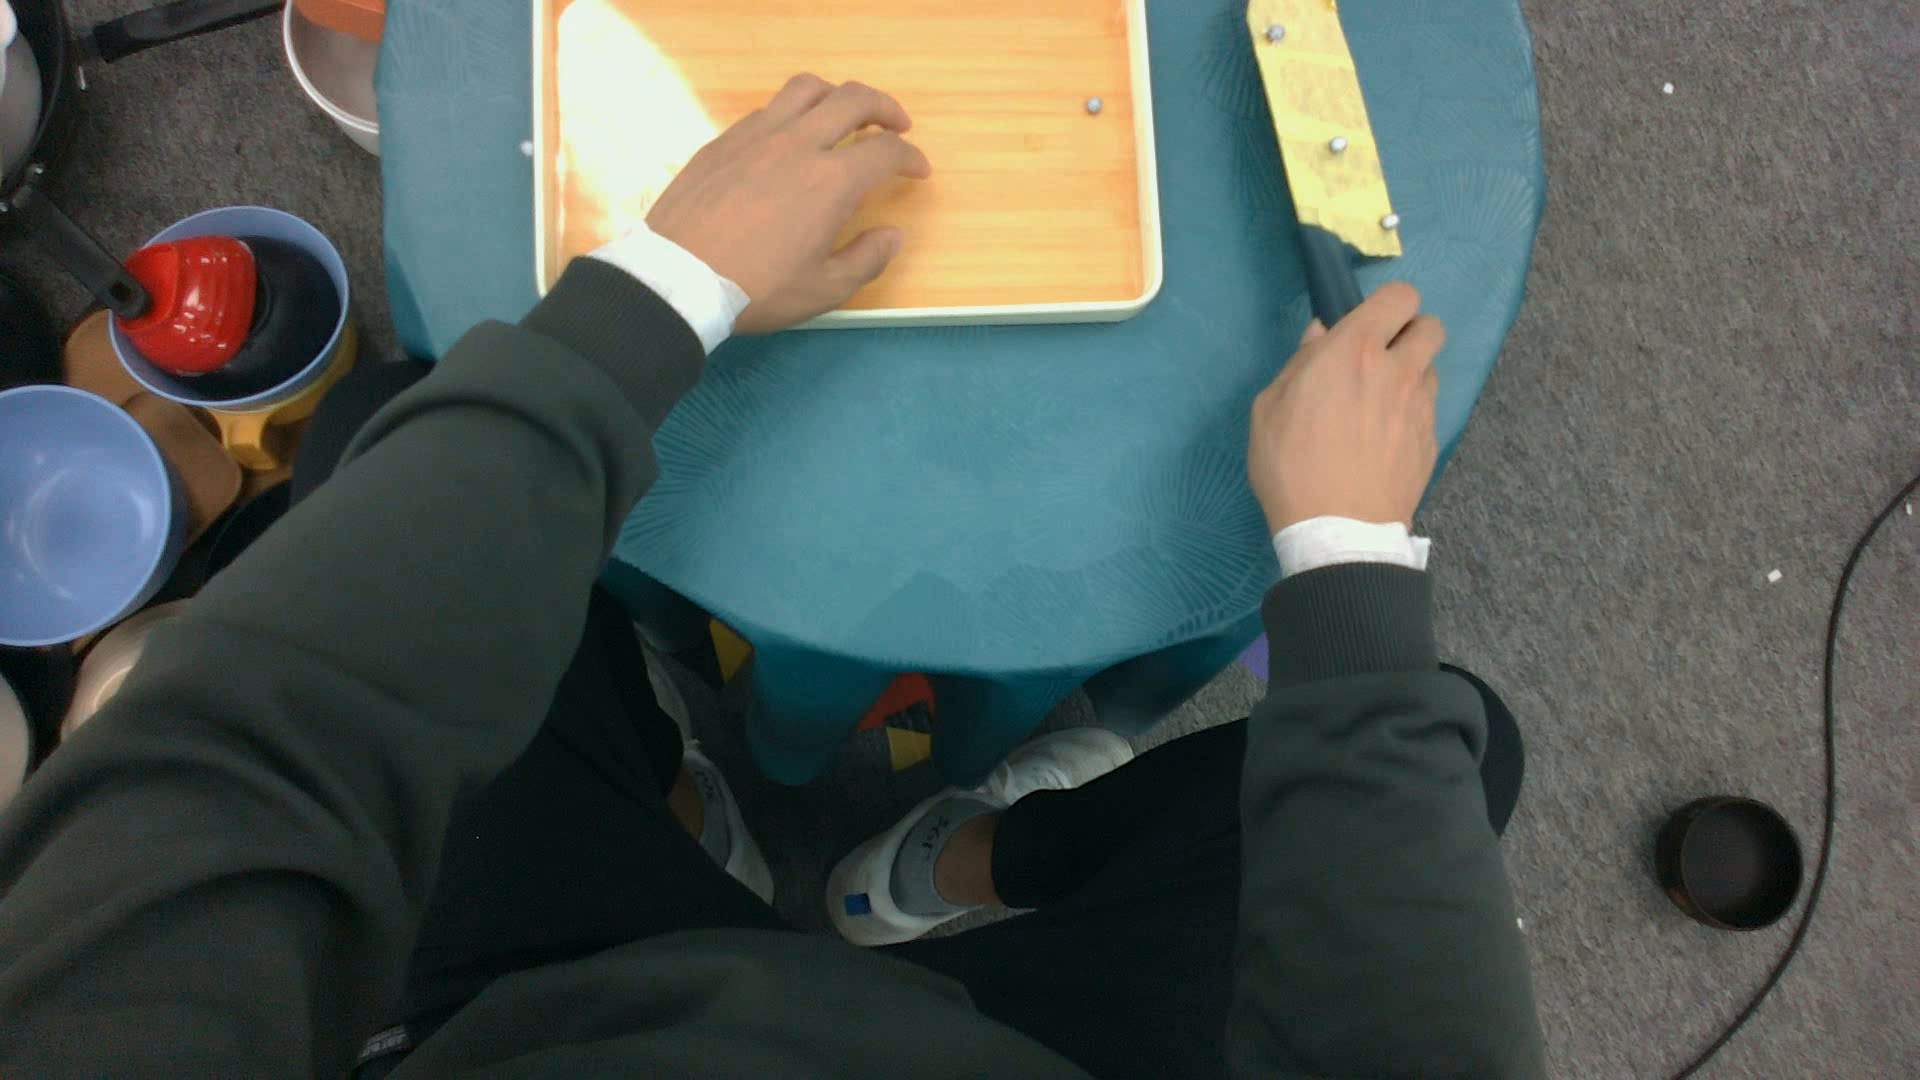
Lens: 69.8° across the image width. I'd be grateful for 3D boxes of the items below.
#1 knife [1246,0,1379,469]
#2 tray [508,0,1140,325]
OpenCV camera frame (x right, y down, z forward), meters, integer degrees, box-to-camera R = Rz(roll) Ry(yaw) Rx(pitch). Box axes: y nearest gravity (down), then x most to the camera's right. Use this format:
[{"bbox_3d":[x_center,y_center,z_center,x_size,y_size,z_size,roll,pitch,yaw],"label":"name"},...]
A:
[{"bbox_3d":[0.183,-0.176,0.697,0.081,0.027,0.290,3,76,-40],"label":"knife"},{"bbox_3d":[-0.065,-0.204,0.682,0.300,0.027,0.192,-3,83,-7],"label":"tray"}]
